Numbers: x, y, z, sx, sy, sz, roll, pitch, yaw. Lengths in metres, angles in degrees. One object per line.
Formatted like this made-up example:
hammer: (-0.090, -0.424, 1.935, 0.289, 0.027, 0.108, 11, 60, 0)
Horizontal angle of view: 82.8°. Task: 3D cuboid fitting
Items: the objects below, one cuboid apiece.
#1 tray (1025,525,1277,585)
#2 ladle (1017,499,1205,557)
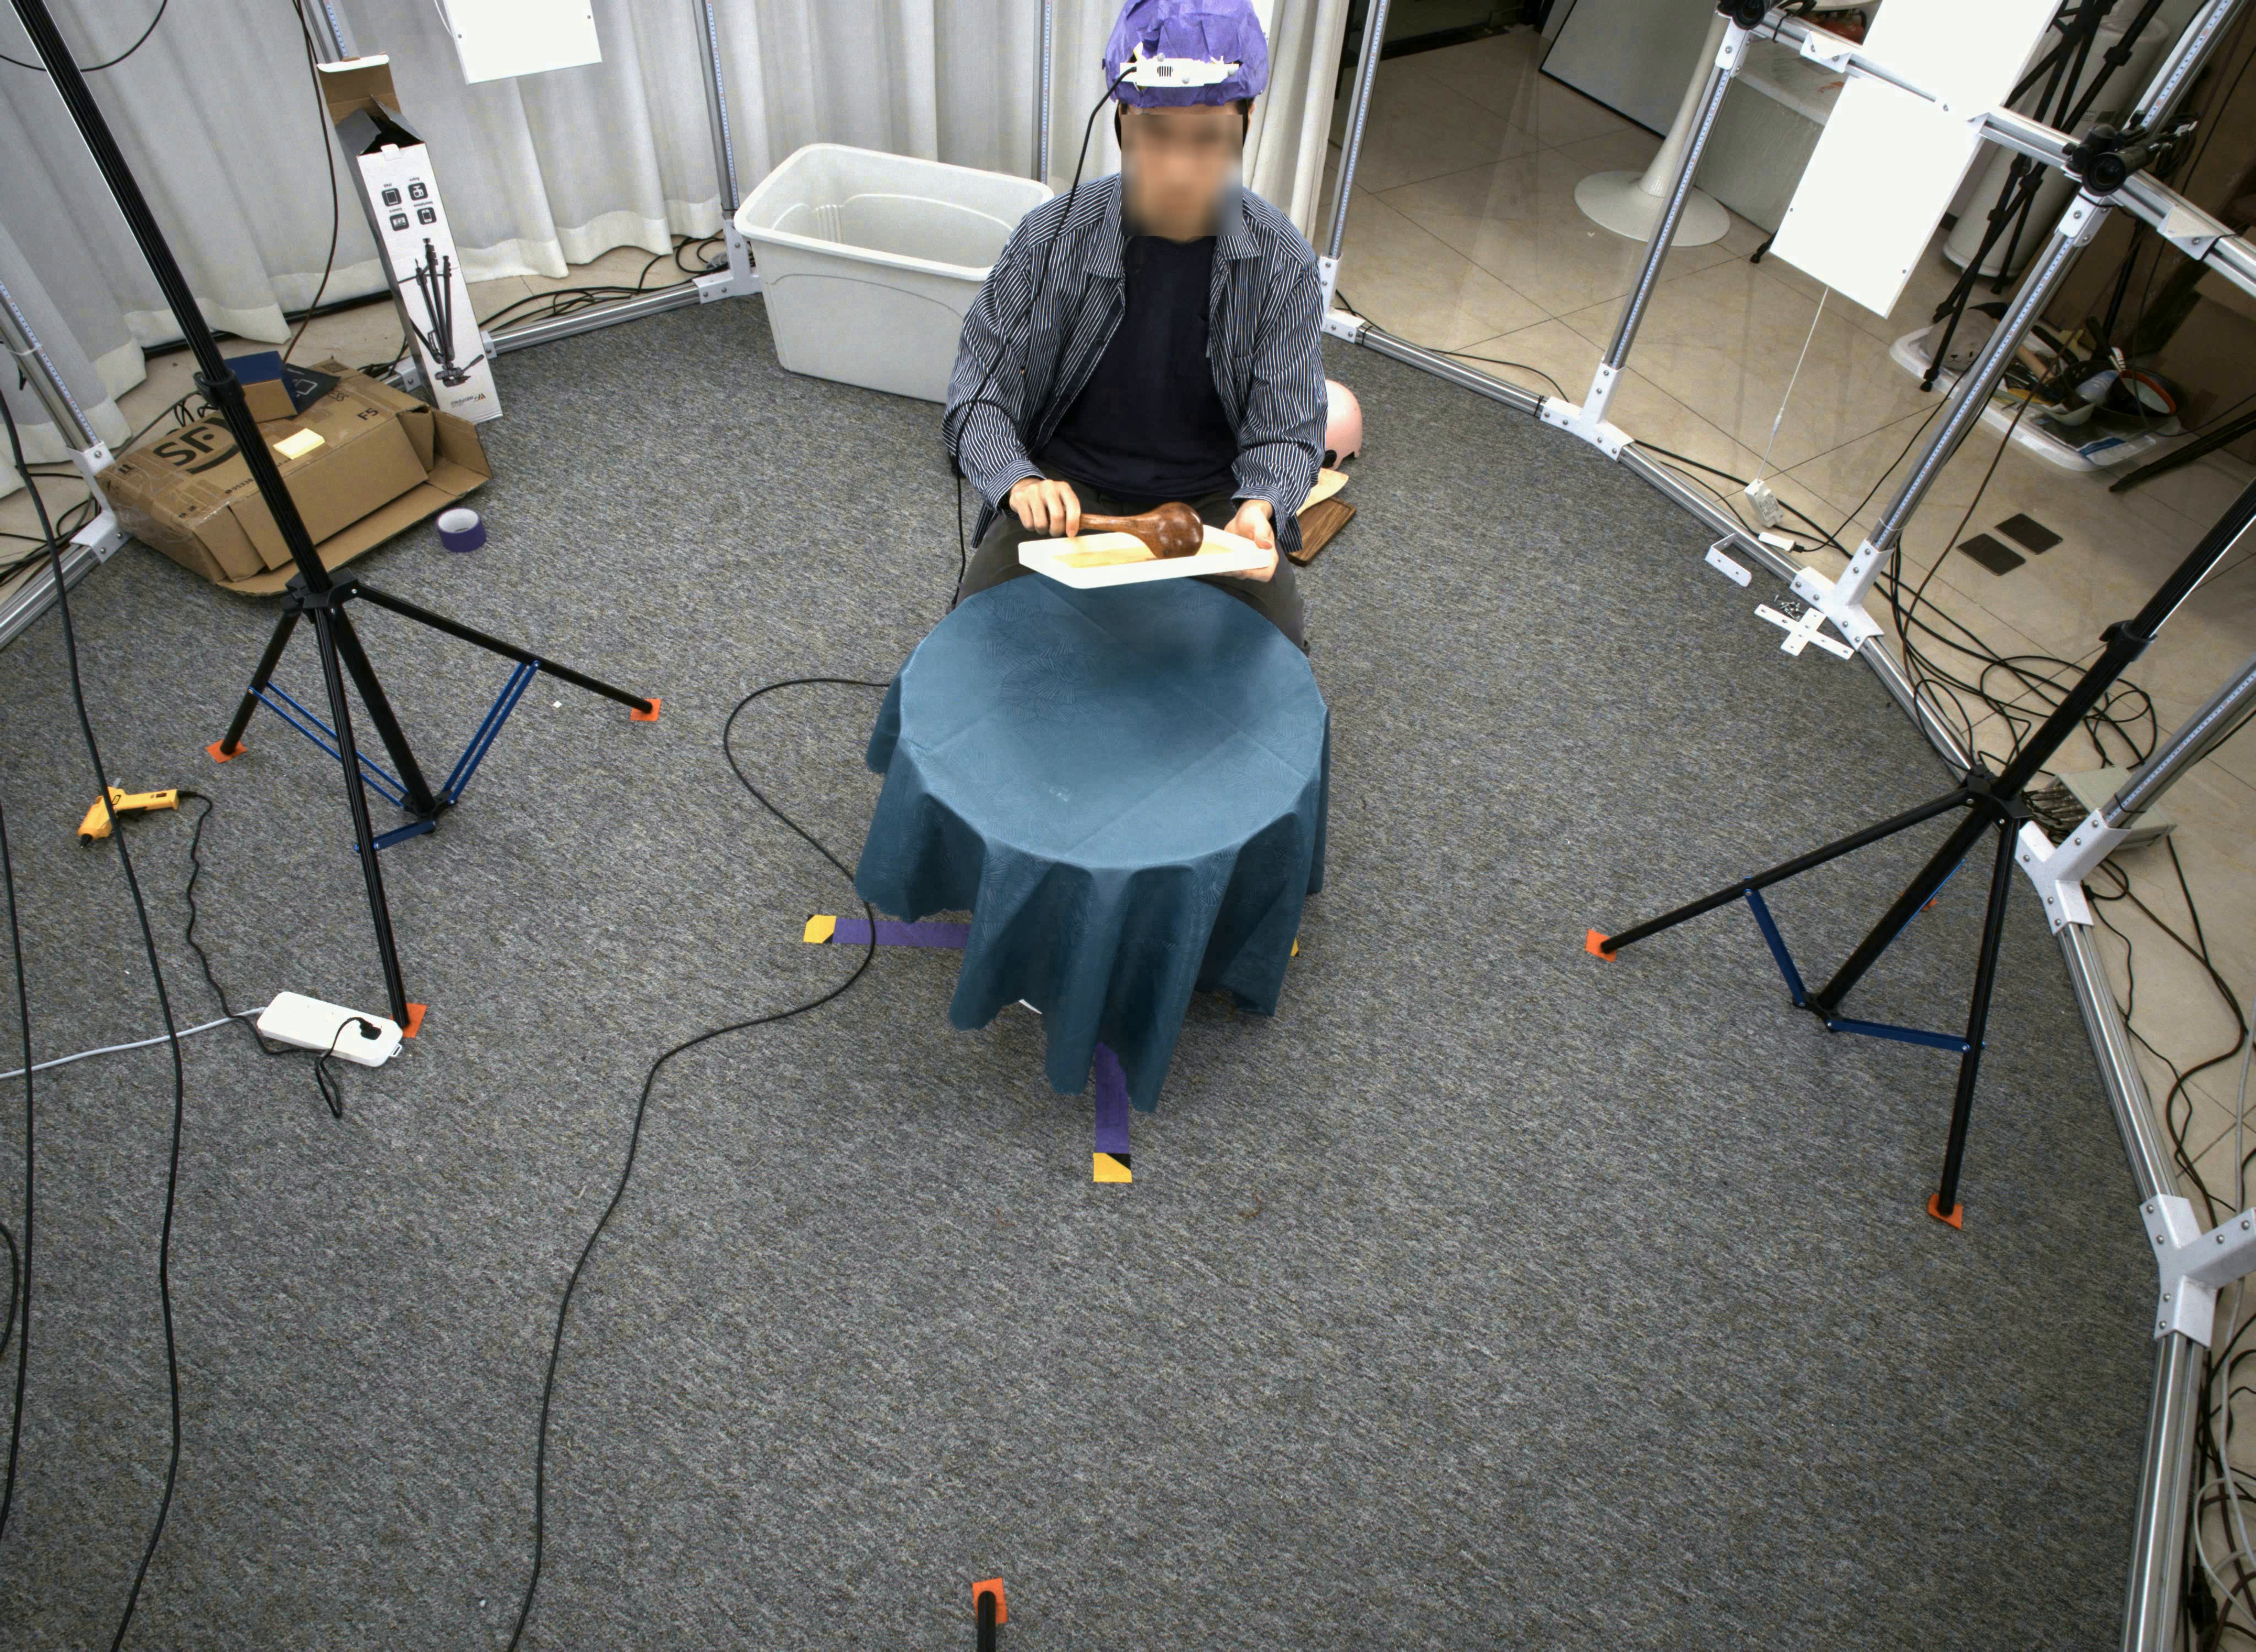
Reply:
tray: (0.030, -0.368, 1.738, 0.300, 0.027, 0.195, -11, 25, -26)
ladle: (-0.023, -0.410, 1.764, 0.276, 0.076, 0.082, 11, 86, 34)
